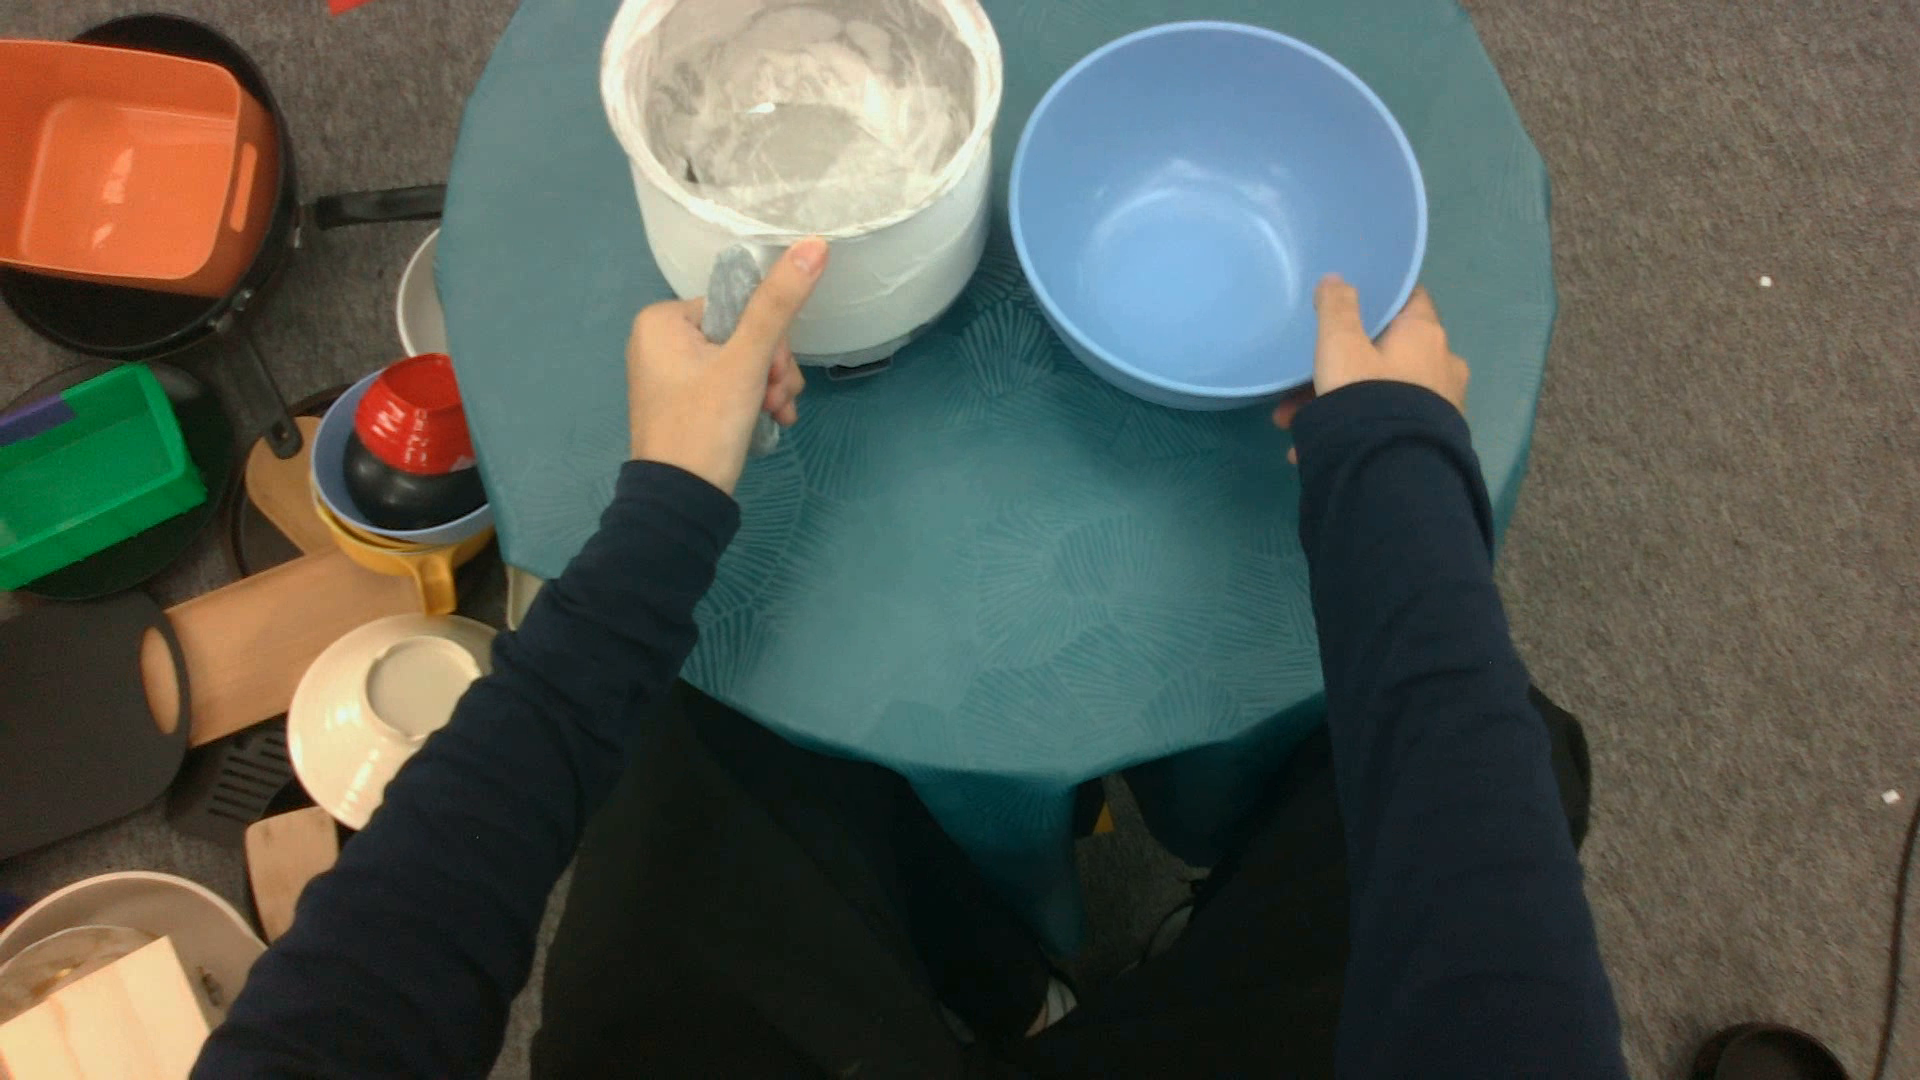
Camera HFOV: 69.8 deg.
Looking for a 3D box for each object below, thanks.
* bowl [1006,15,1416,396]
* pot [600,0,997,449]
[{"bbox_3d":[0.117,-0.152,0.694,0.196,0.095,0.197,1,71,-3],"label":"bowl"},{"bbox_3d":[-0.079,-0.165,0.663,0.178,0.136,0.234,13,67,4],"label":"pot"}]
